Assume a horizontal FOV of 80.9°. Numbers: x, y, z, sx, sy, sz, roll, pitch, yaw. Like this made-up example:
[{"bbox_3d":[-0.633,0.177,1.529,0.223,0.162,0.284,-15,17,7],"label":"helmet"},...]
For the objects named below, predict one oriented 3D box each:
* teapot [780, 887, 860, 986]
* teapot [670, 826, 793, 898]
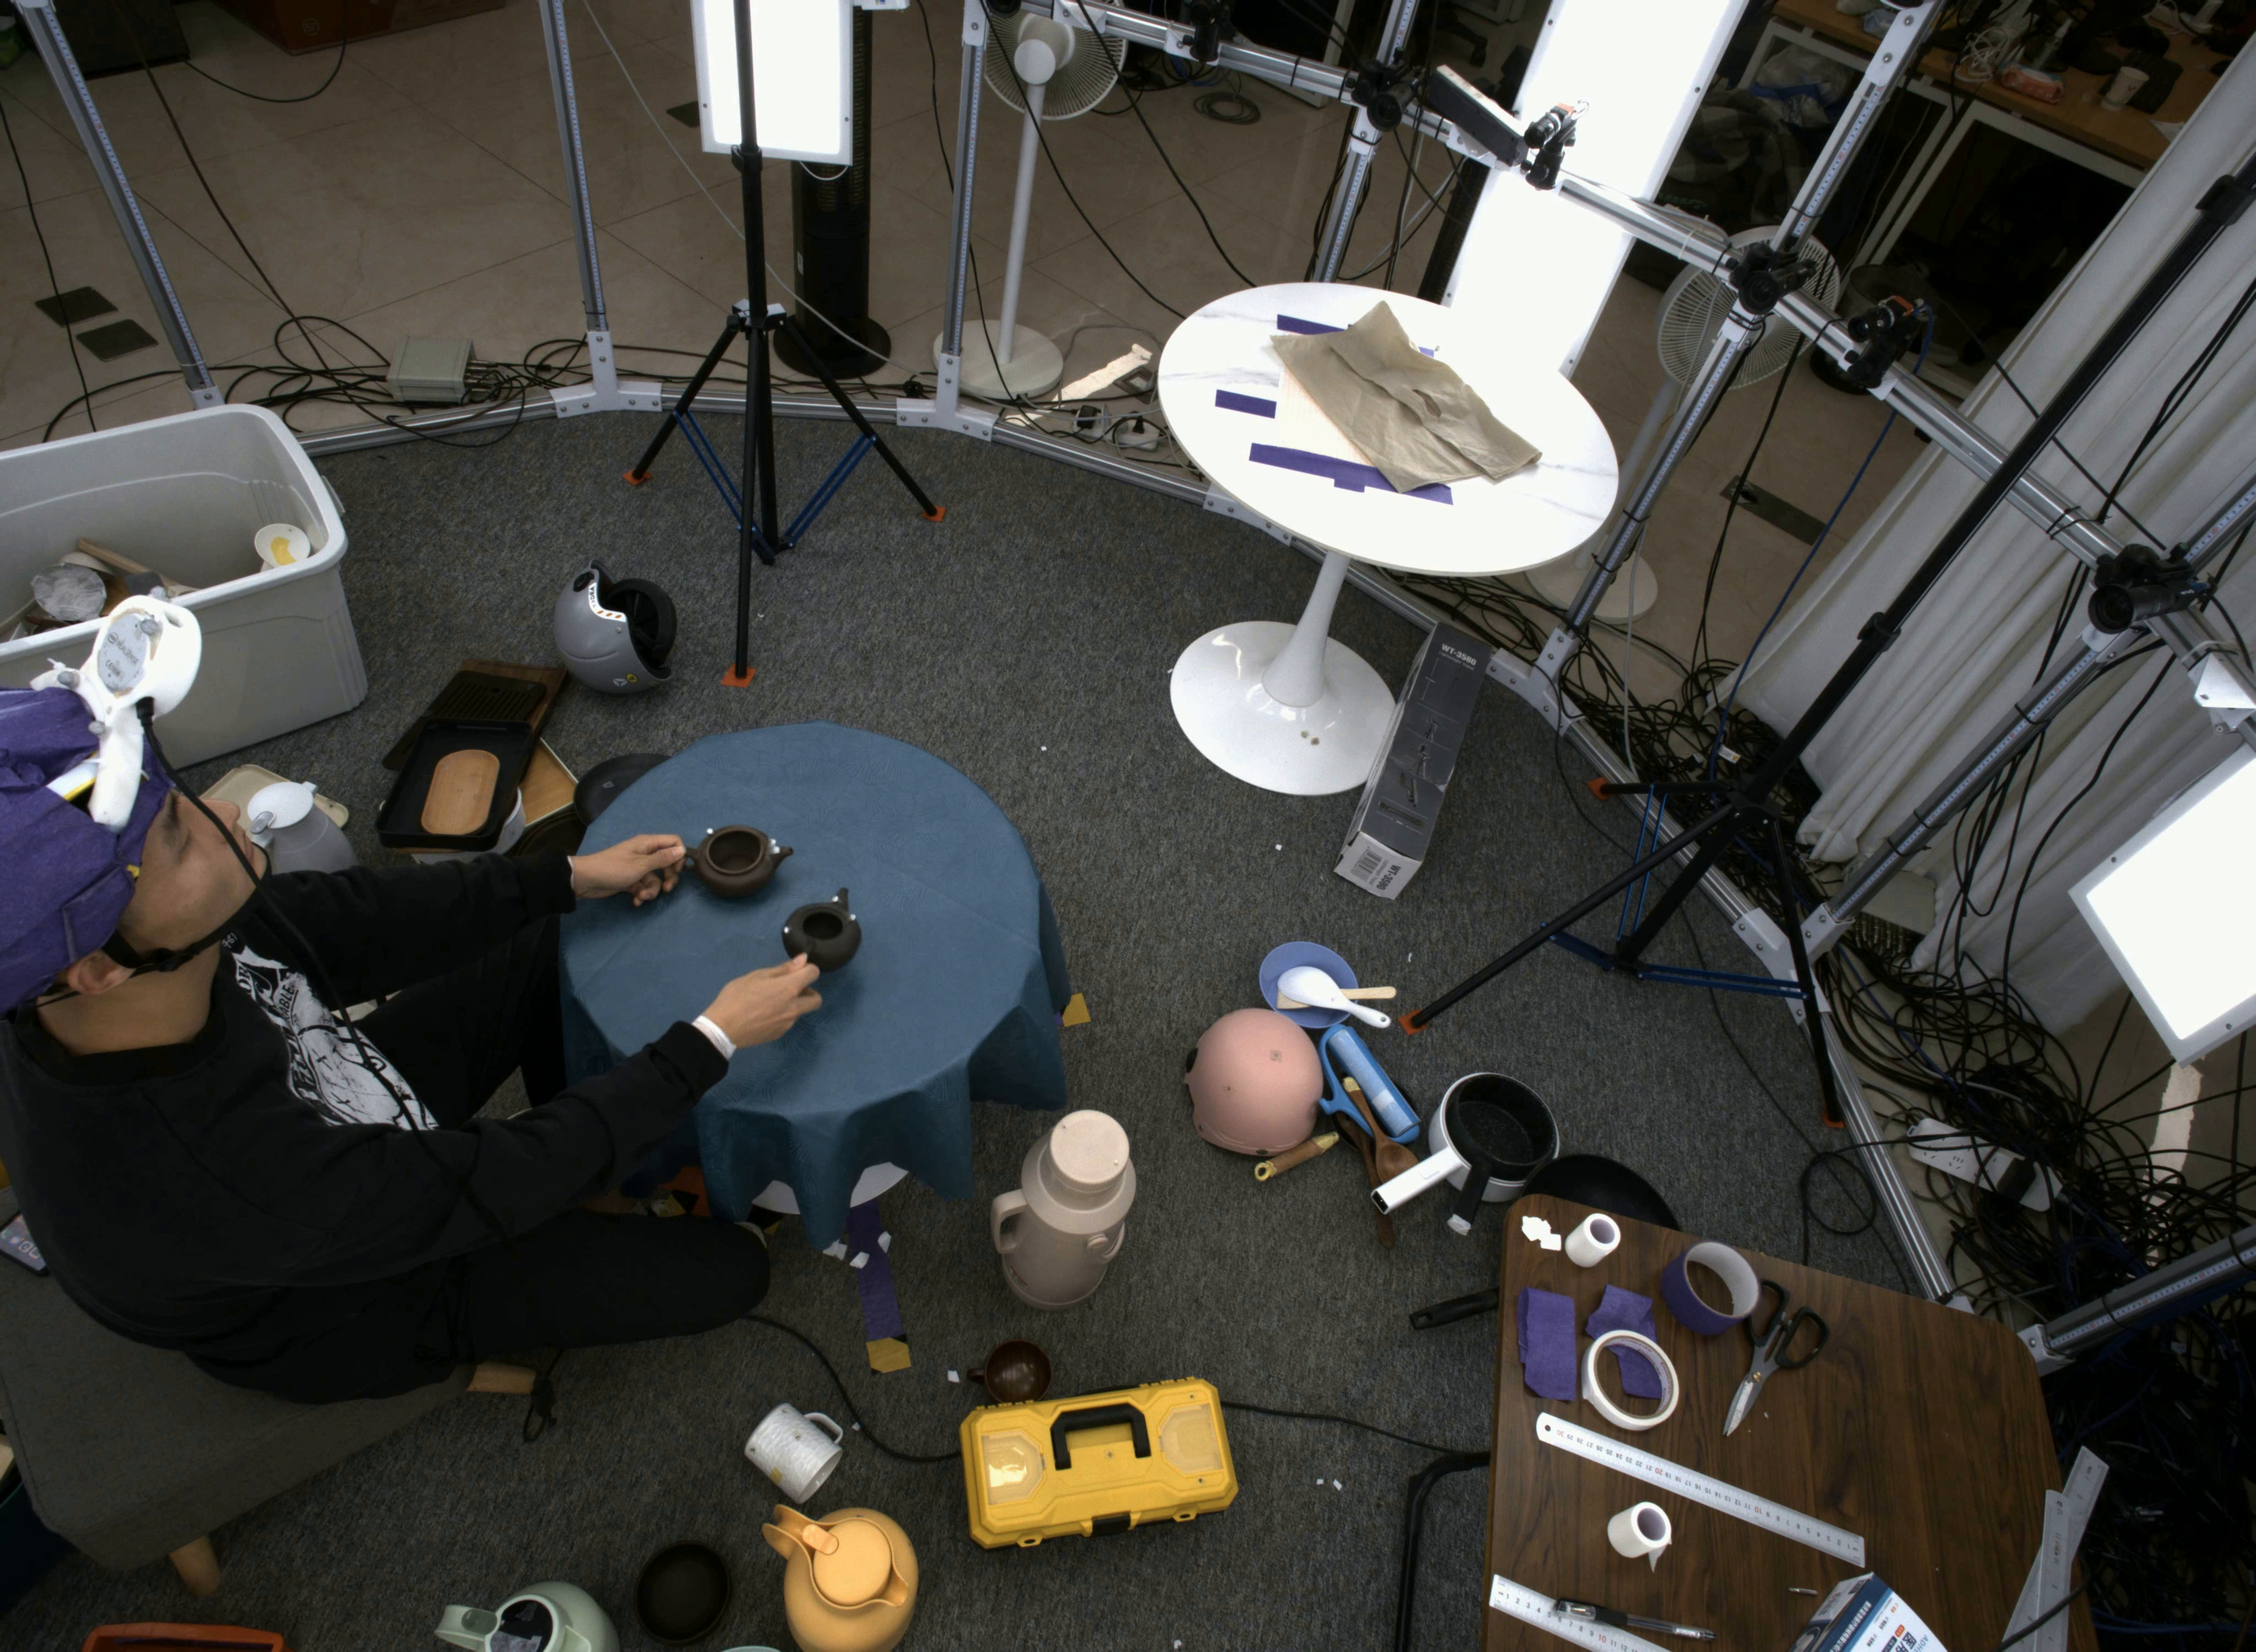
[{"bbox_3d":[-0.370,0.133,1.552,0.091,0.066,0.152,17,39,3],"label":"teapot"},{"bbox_3d":[-0.501,0.043,1.634,0.154,0.055,0.100,-3,52,-16],"label":"teapot"}]
